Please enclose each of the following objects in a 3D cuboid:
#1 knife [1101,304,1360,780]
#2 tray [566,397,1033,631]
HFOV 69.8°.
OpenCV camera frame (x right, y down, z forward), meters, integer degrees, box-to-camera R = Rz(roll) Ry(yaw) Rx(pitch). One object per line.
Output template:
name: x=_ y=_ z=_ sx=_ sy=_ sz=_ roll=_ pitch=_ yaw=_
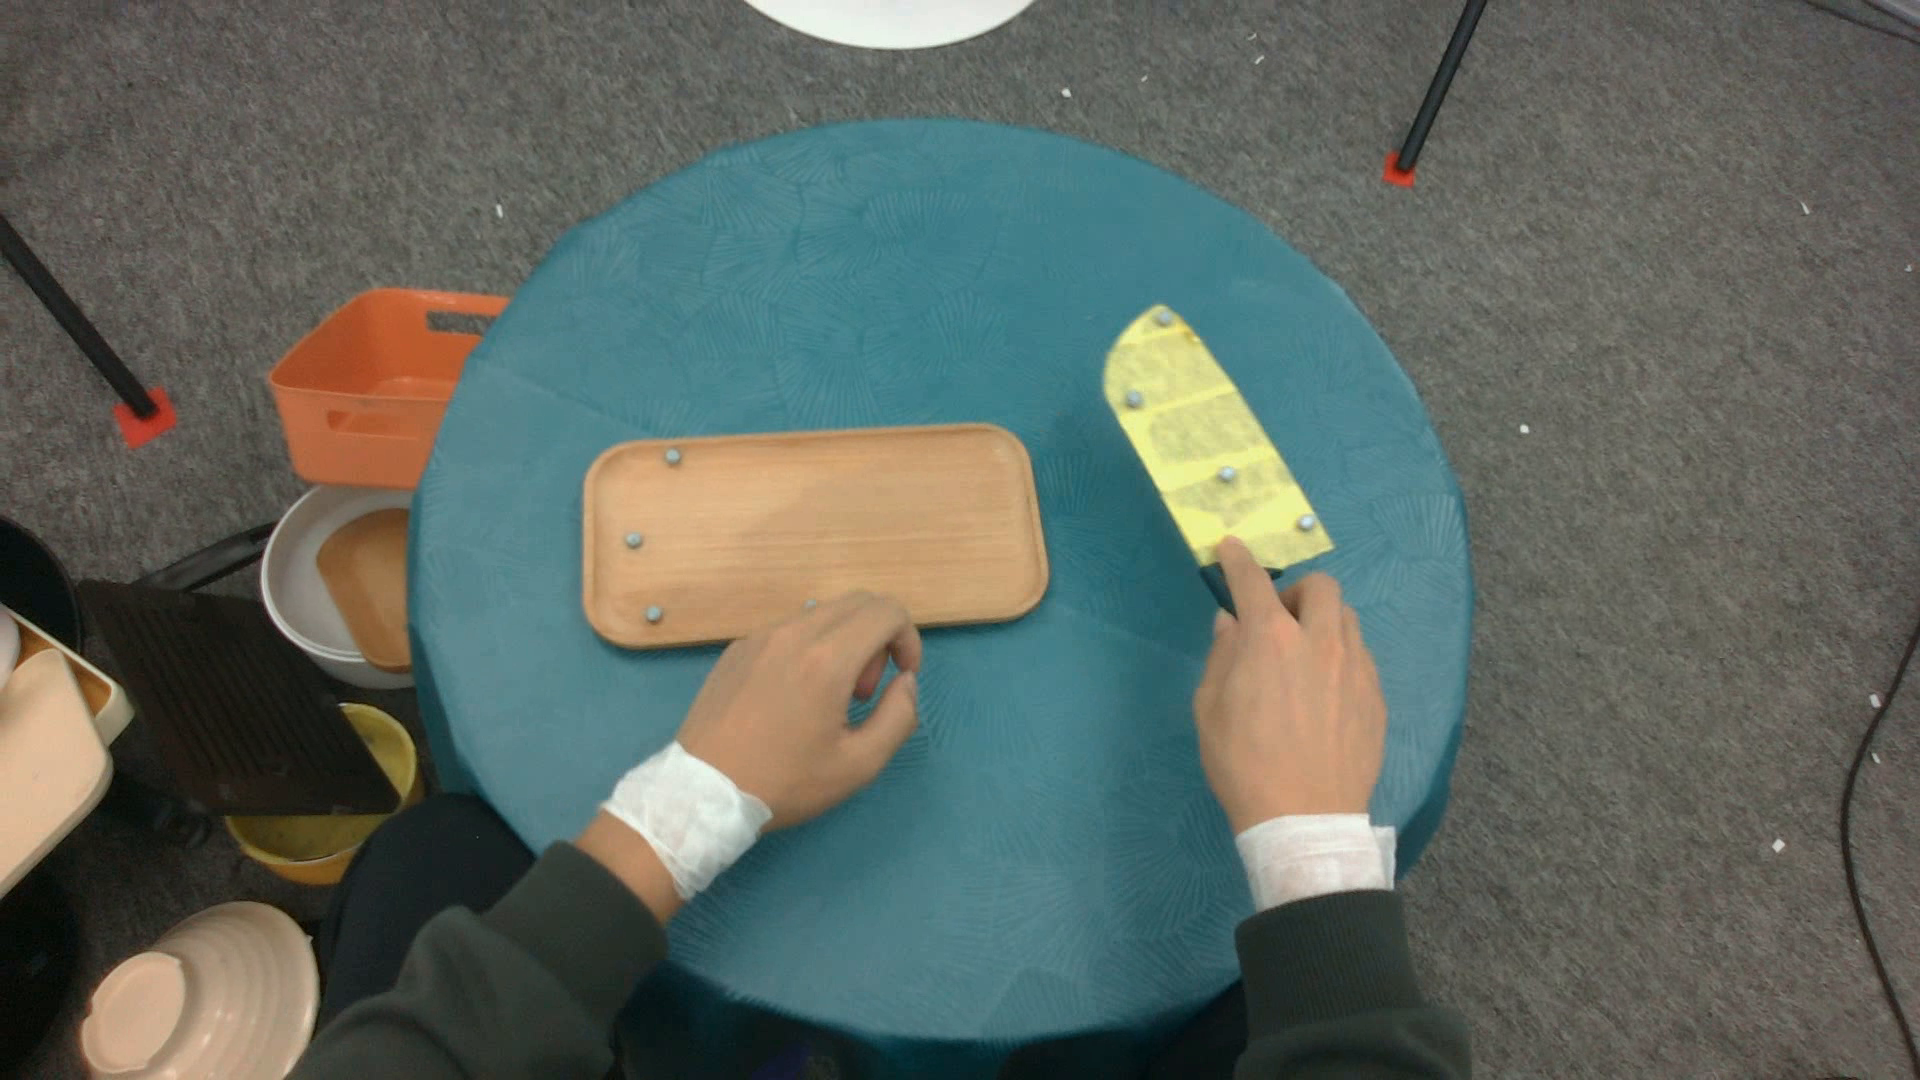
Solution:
knife: x=0.148 y=-0.012 z=0.726 sx=0.081 sy=0.027 sz=0.290 roll=-16 pitch=64 yaw=-10
tray: x=-0.088 y=-0.017 z=0.762 sx=0.251 sy=0.023 sz=0.131 roll=-4 pitch=65 yaw=-9
